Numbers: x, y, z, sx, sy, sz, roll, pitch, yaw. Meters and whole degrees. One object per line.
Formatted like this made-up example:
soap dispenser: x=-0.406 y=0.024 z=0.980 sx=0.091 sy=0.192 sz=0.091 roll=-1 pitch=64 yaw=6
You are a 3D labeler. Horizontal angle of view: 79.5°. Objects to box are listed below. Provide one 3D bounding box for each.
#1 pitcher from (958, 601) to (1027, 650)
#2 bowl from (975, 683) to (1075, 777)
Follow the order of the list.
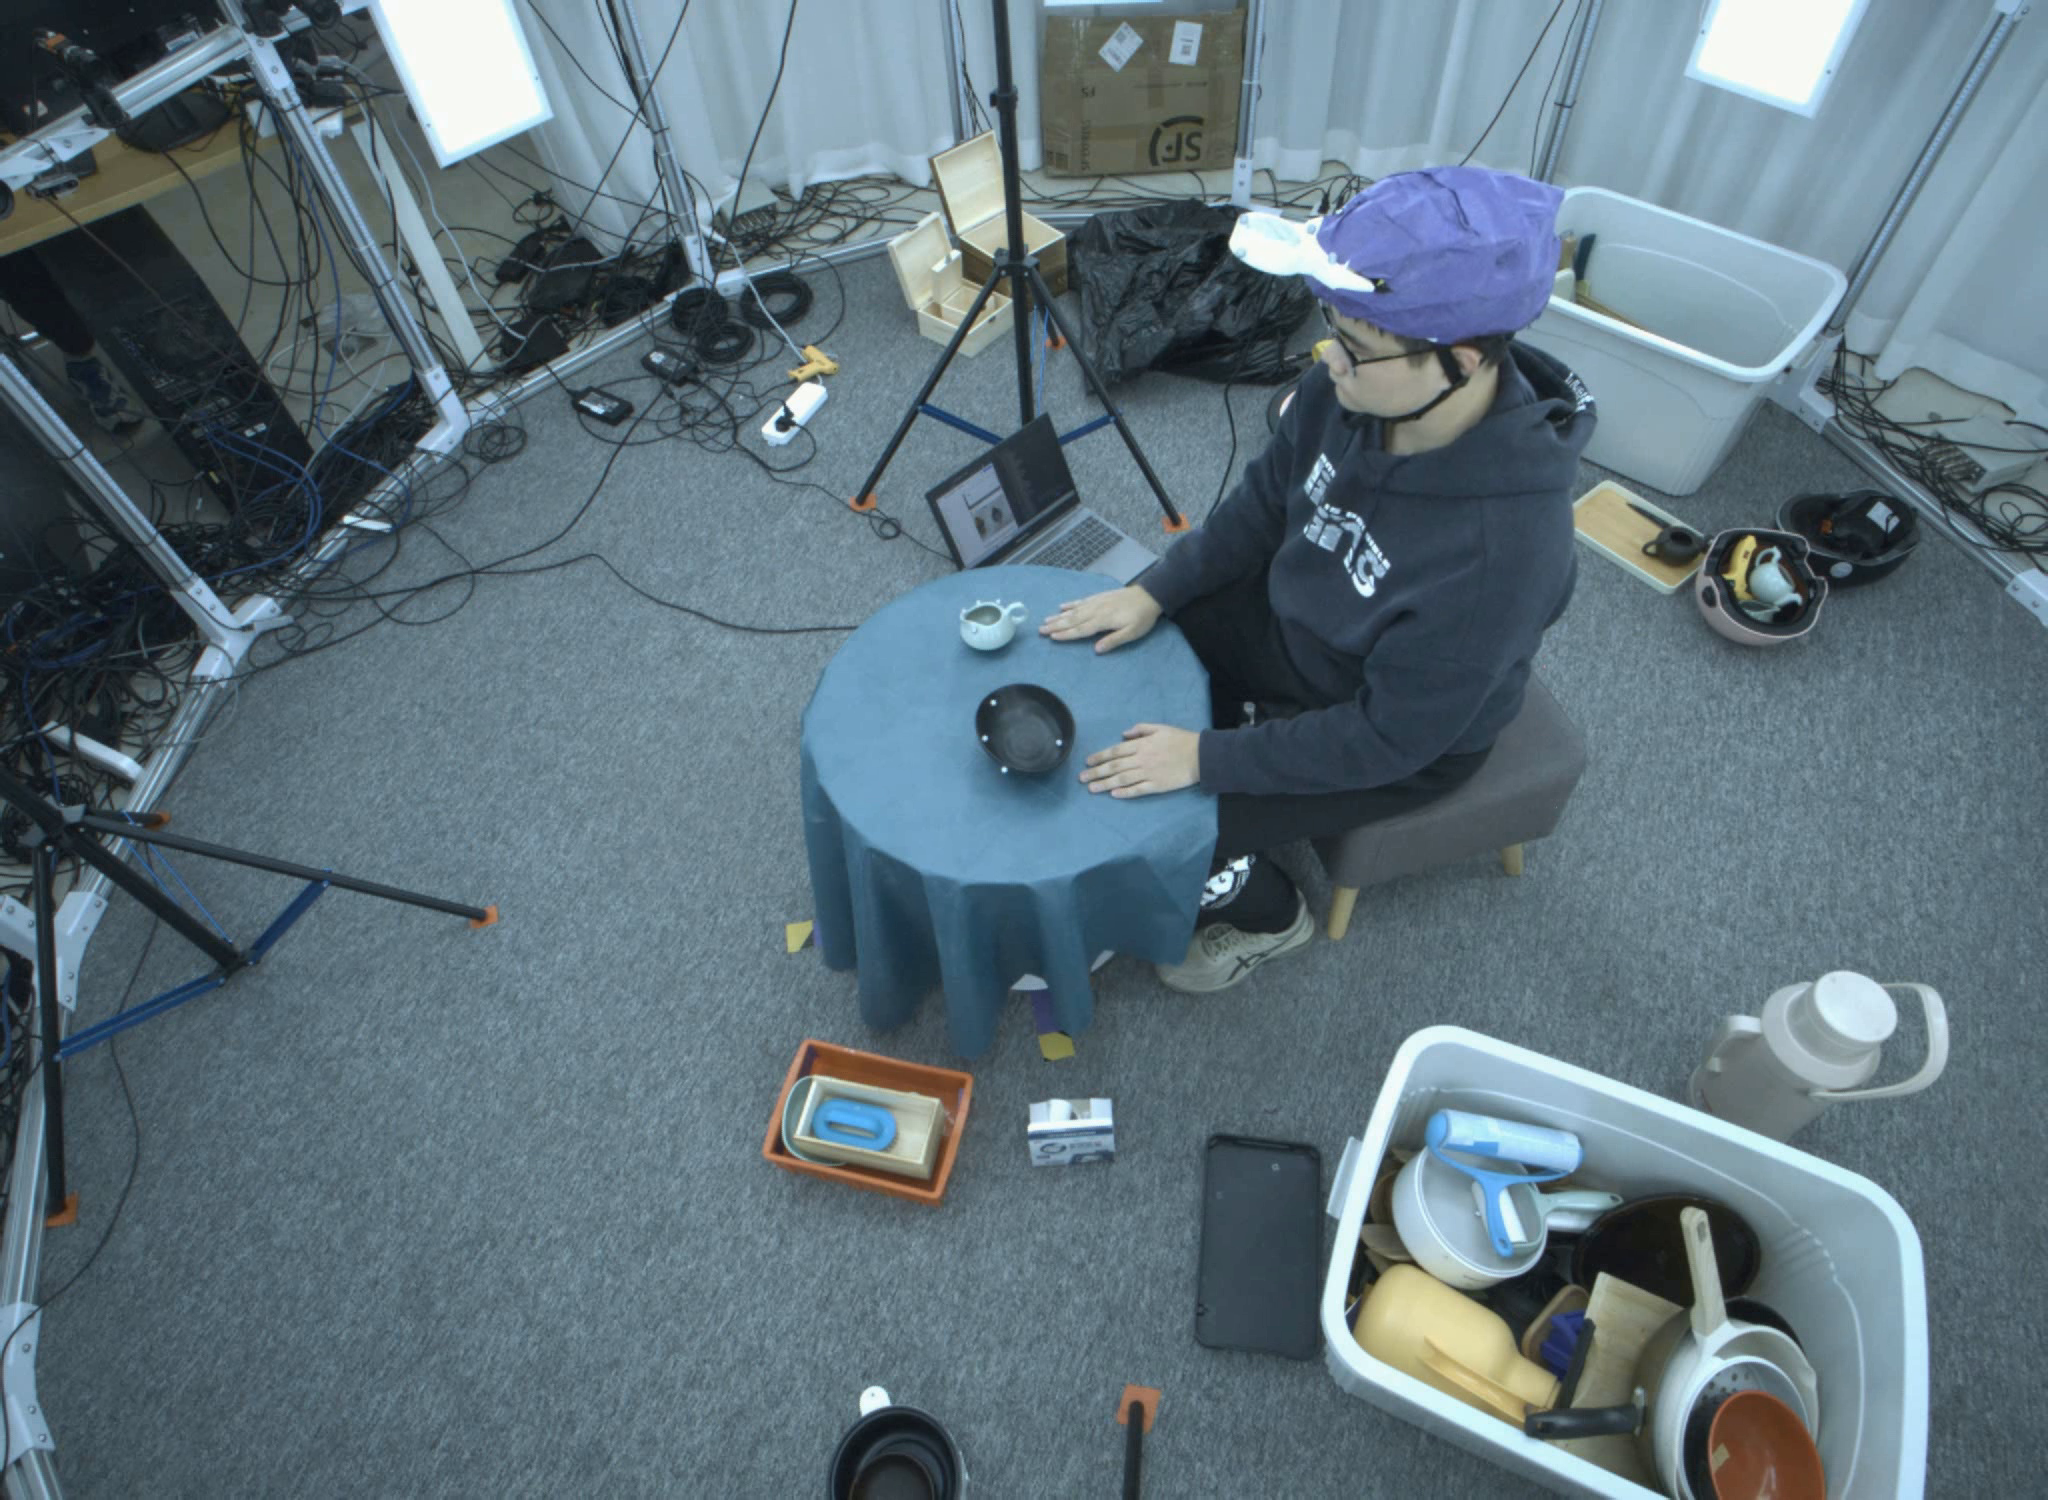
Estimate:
pitcher: x=-0.048 y=-0.197 z=1.894 sx=0.108 sy=0.061 sz=0.084 roll=-12 pitch=56 yaw=-9
bowl: x=0.000 y=-0.020 z=1.764 sx=0.138 sy=0.067 sz=0.167 roll=-21 pitch=56 yaw=-13
